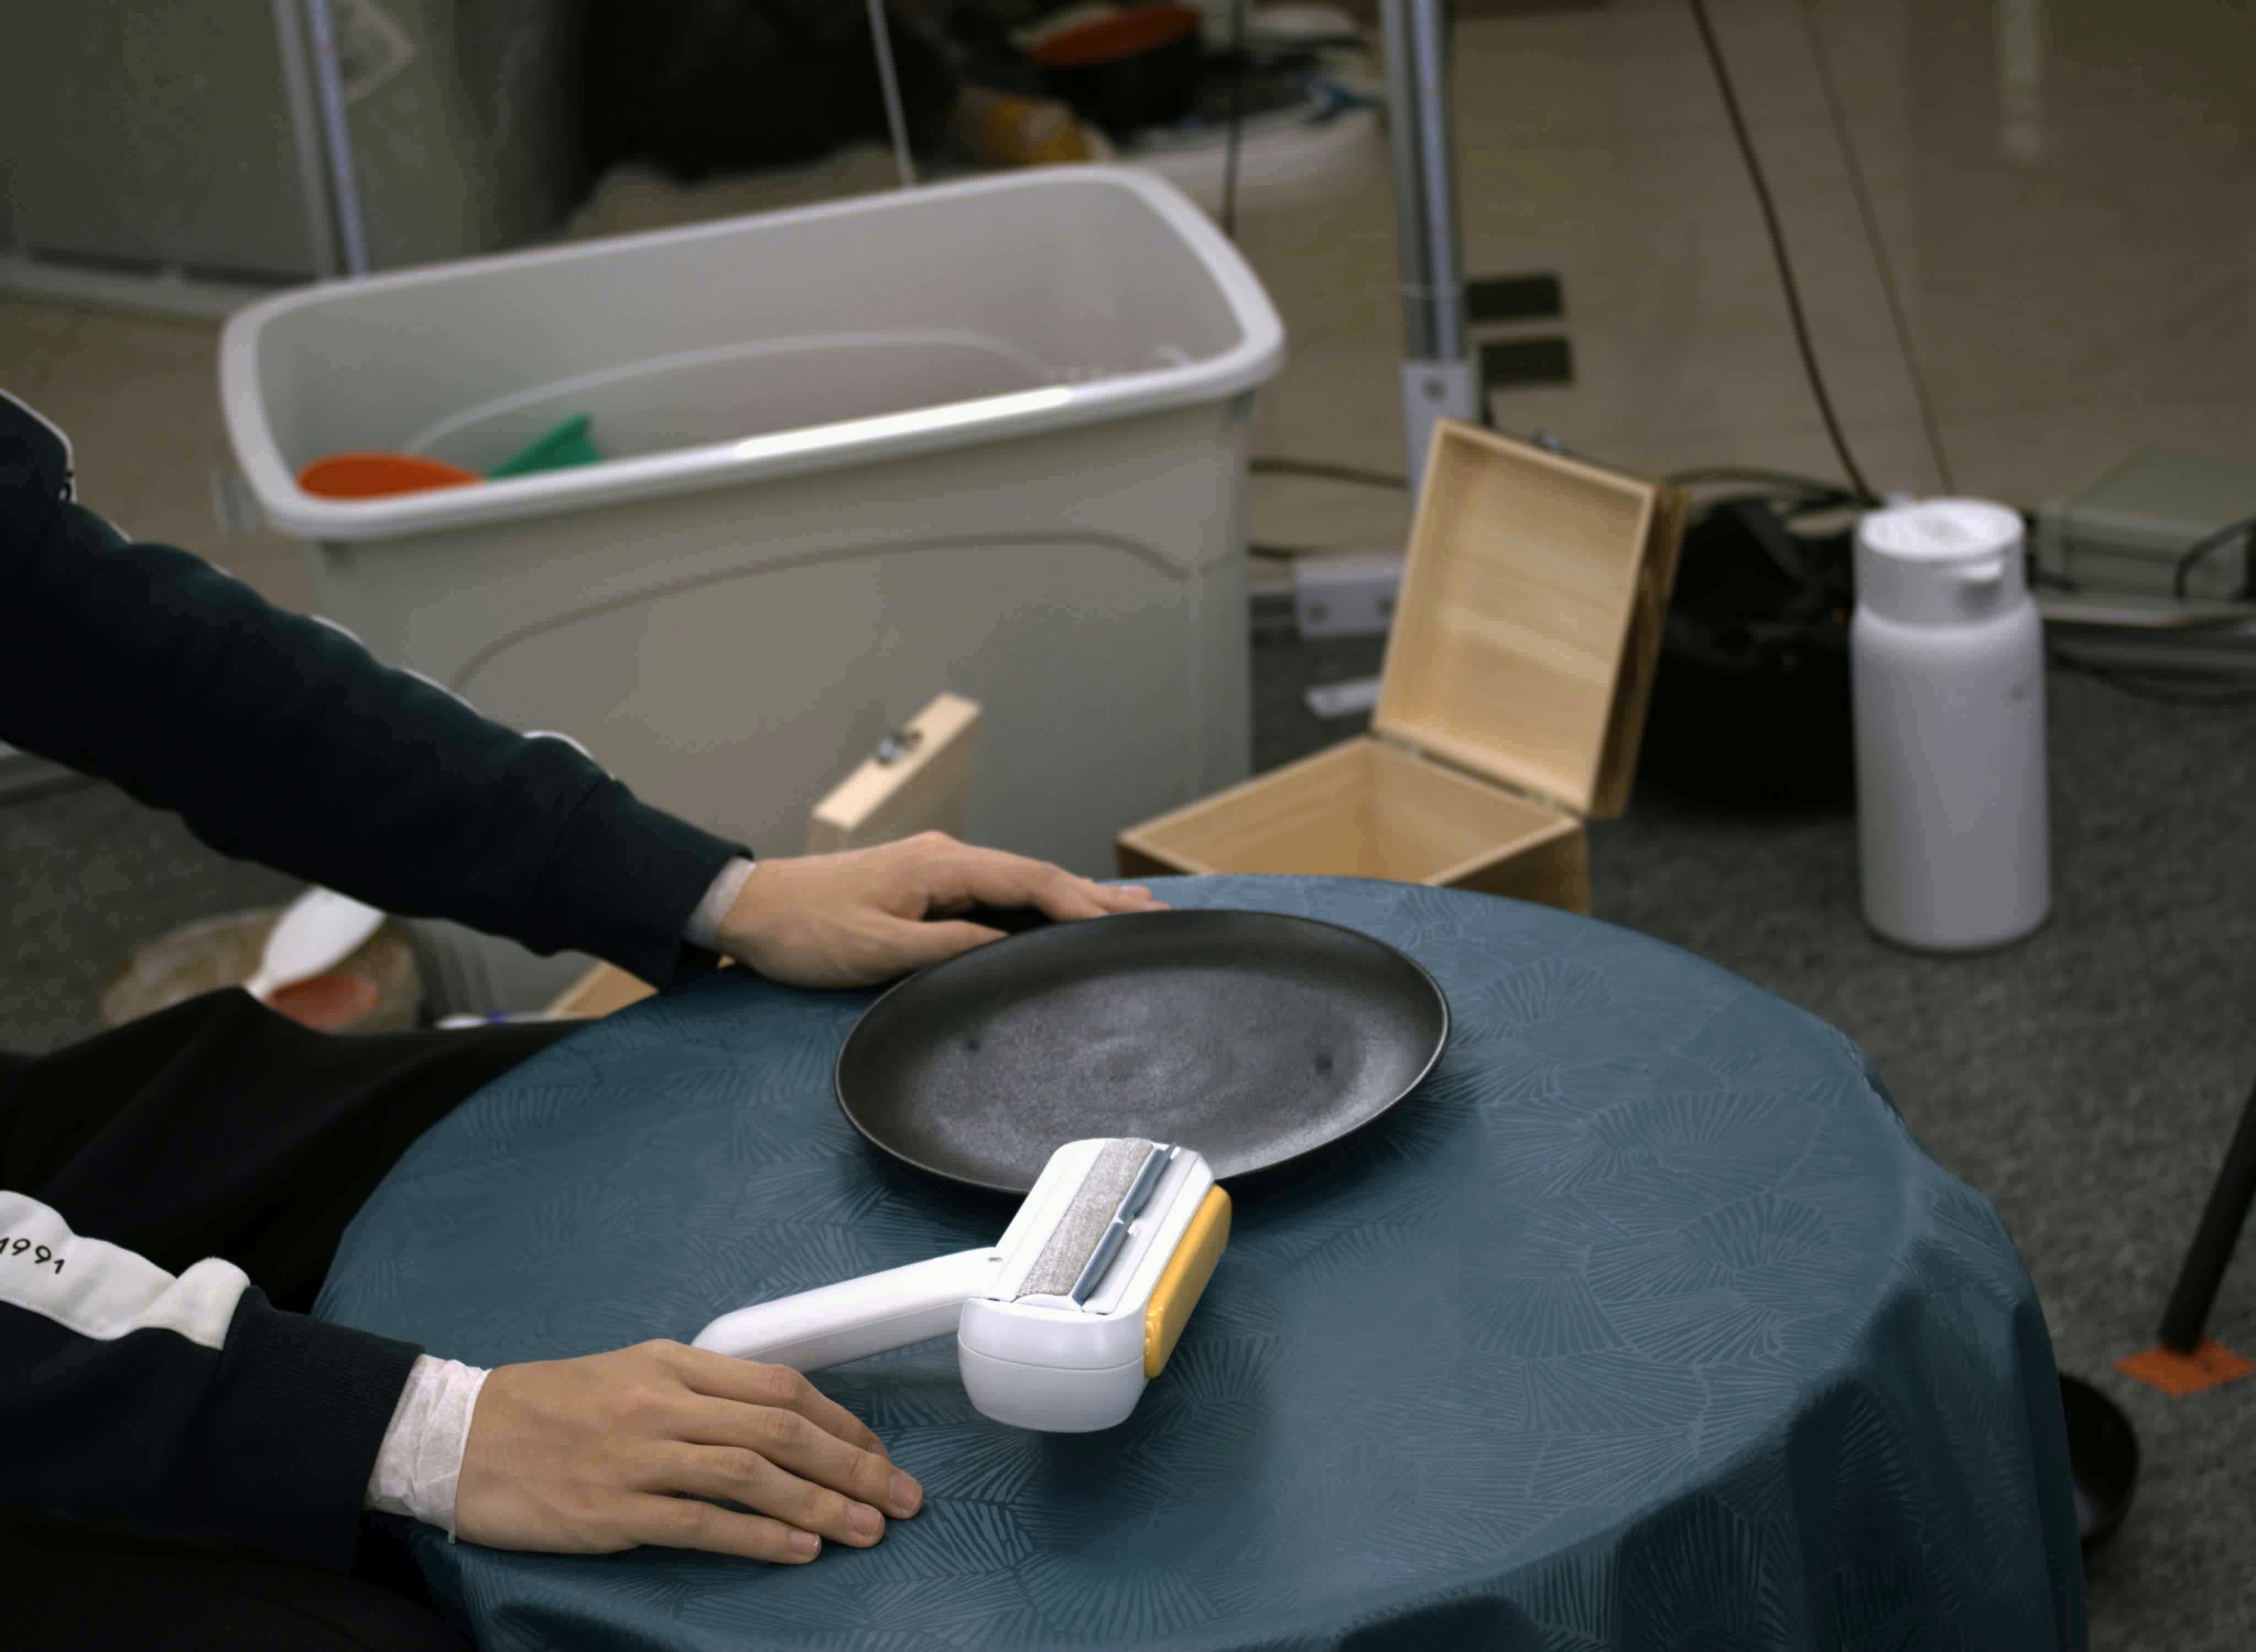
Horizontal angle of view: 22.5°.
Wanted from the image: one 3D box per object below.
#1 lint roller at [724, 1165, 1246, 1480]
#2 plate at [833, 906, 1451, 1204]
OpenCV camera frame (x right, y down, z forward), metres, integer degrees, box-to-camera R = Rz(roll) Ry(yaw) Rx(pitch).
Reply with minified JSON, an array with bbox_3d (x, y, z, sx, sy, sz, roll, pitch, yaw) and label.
[{"bbox_3d":[-0.063,0.187,2.021,0.192,0.075,0.190,-13,14,21],"label":"lint roller"},{"bbox_3d":[0.006,0.094,2.212,0.244,0.024,0.241,-5,25,3],"label":"plate"}]
